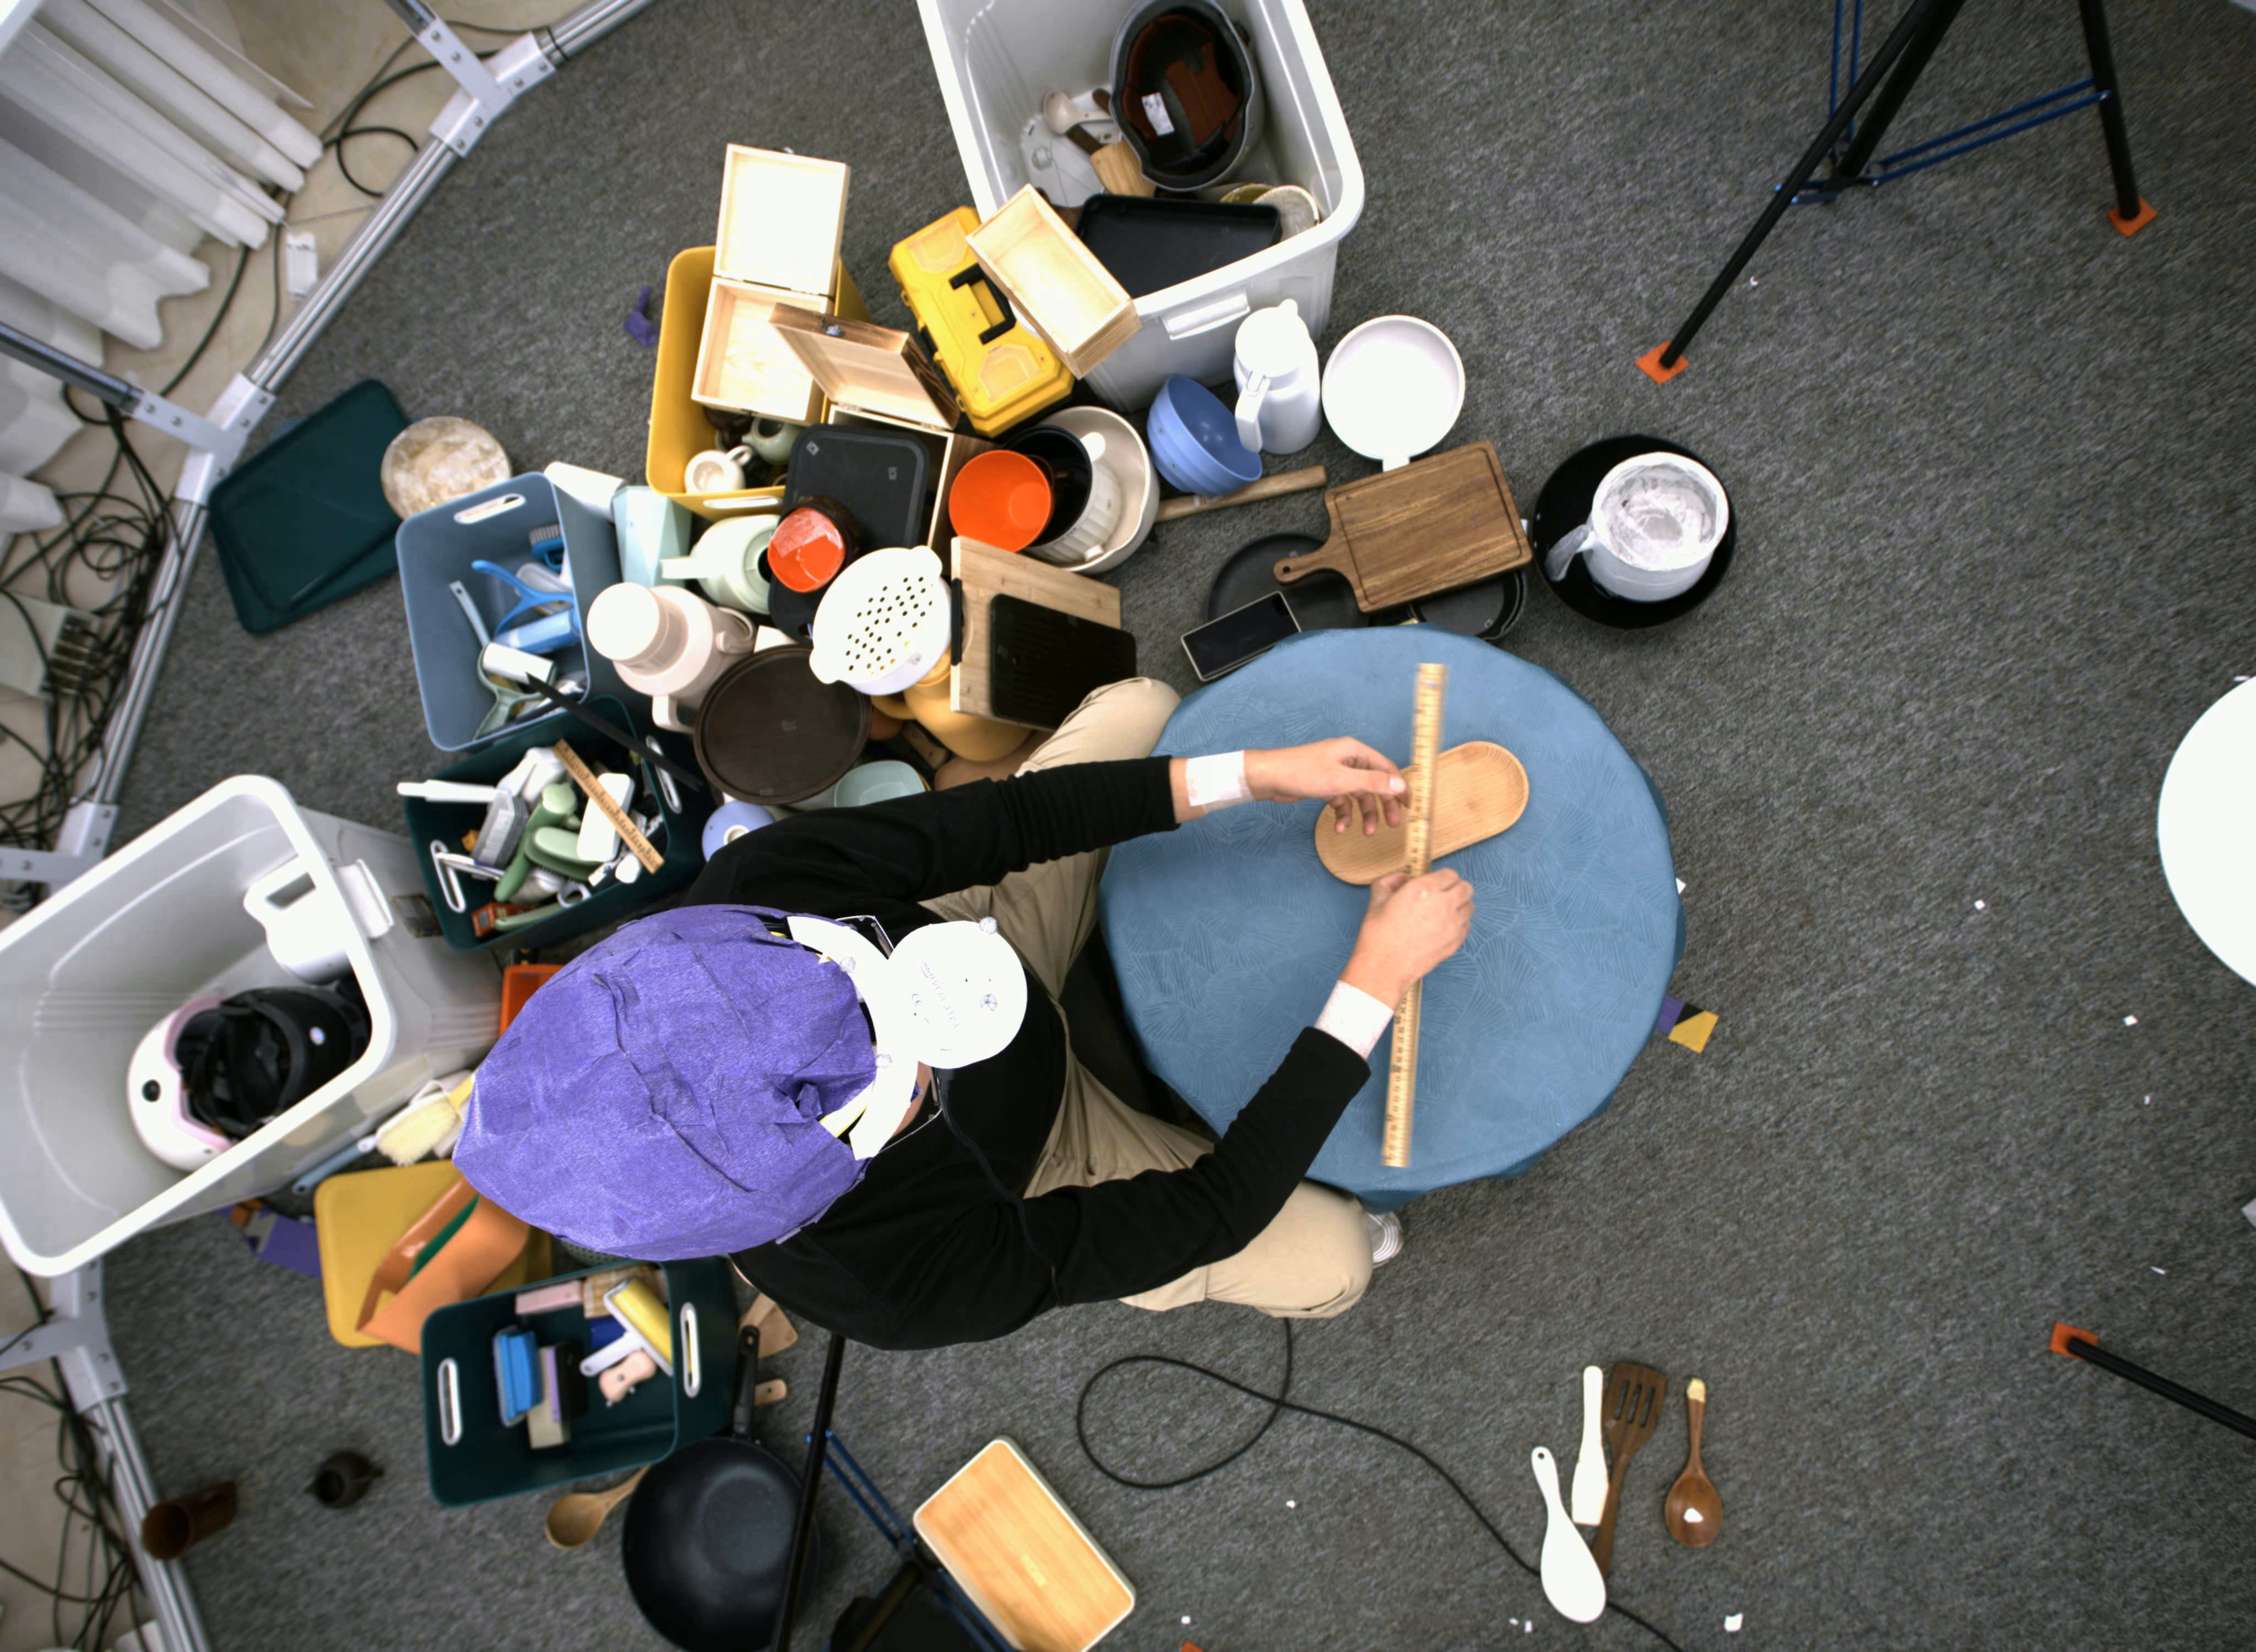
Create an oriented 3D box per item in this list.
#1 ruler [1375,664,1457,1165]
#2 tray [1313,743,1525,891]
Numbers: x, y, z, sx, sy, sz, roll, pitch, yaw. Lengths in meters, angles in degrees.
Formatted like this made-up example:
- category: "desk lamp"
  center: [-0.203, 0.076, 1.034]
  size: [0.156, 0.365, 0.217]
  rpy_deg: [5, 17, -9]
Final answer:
- category: "ruler"
  center: [0.282, 0.091, 1.353]
  size: [0.027, 0.006, 0.504]
  rpy_deg: [8, 100, 16]
- category: "tray"
  center: [0.305, -0.011, 1.450]
  size: [0.233, 0.020, 0.101]
  rpy_deg: [-26, 81, 10]
